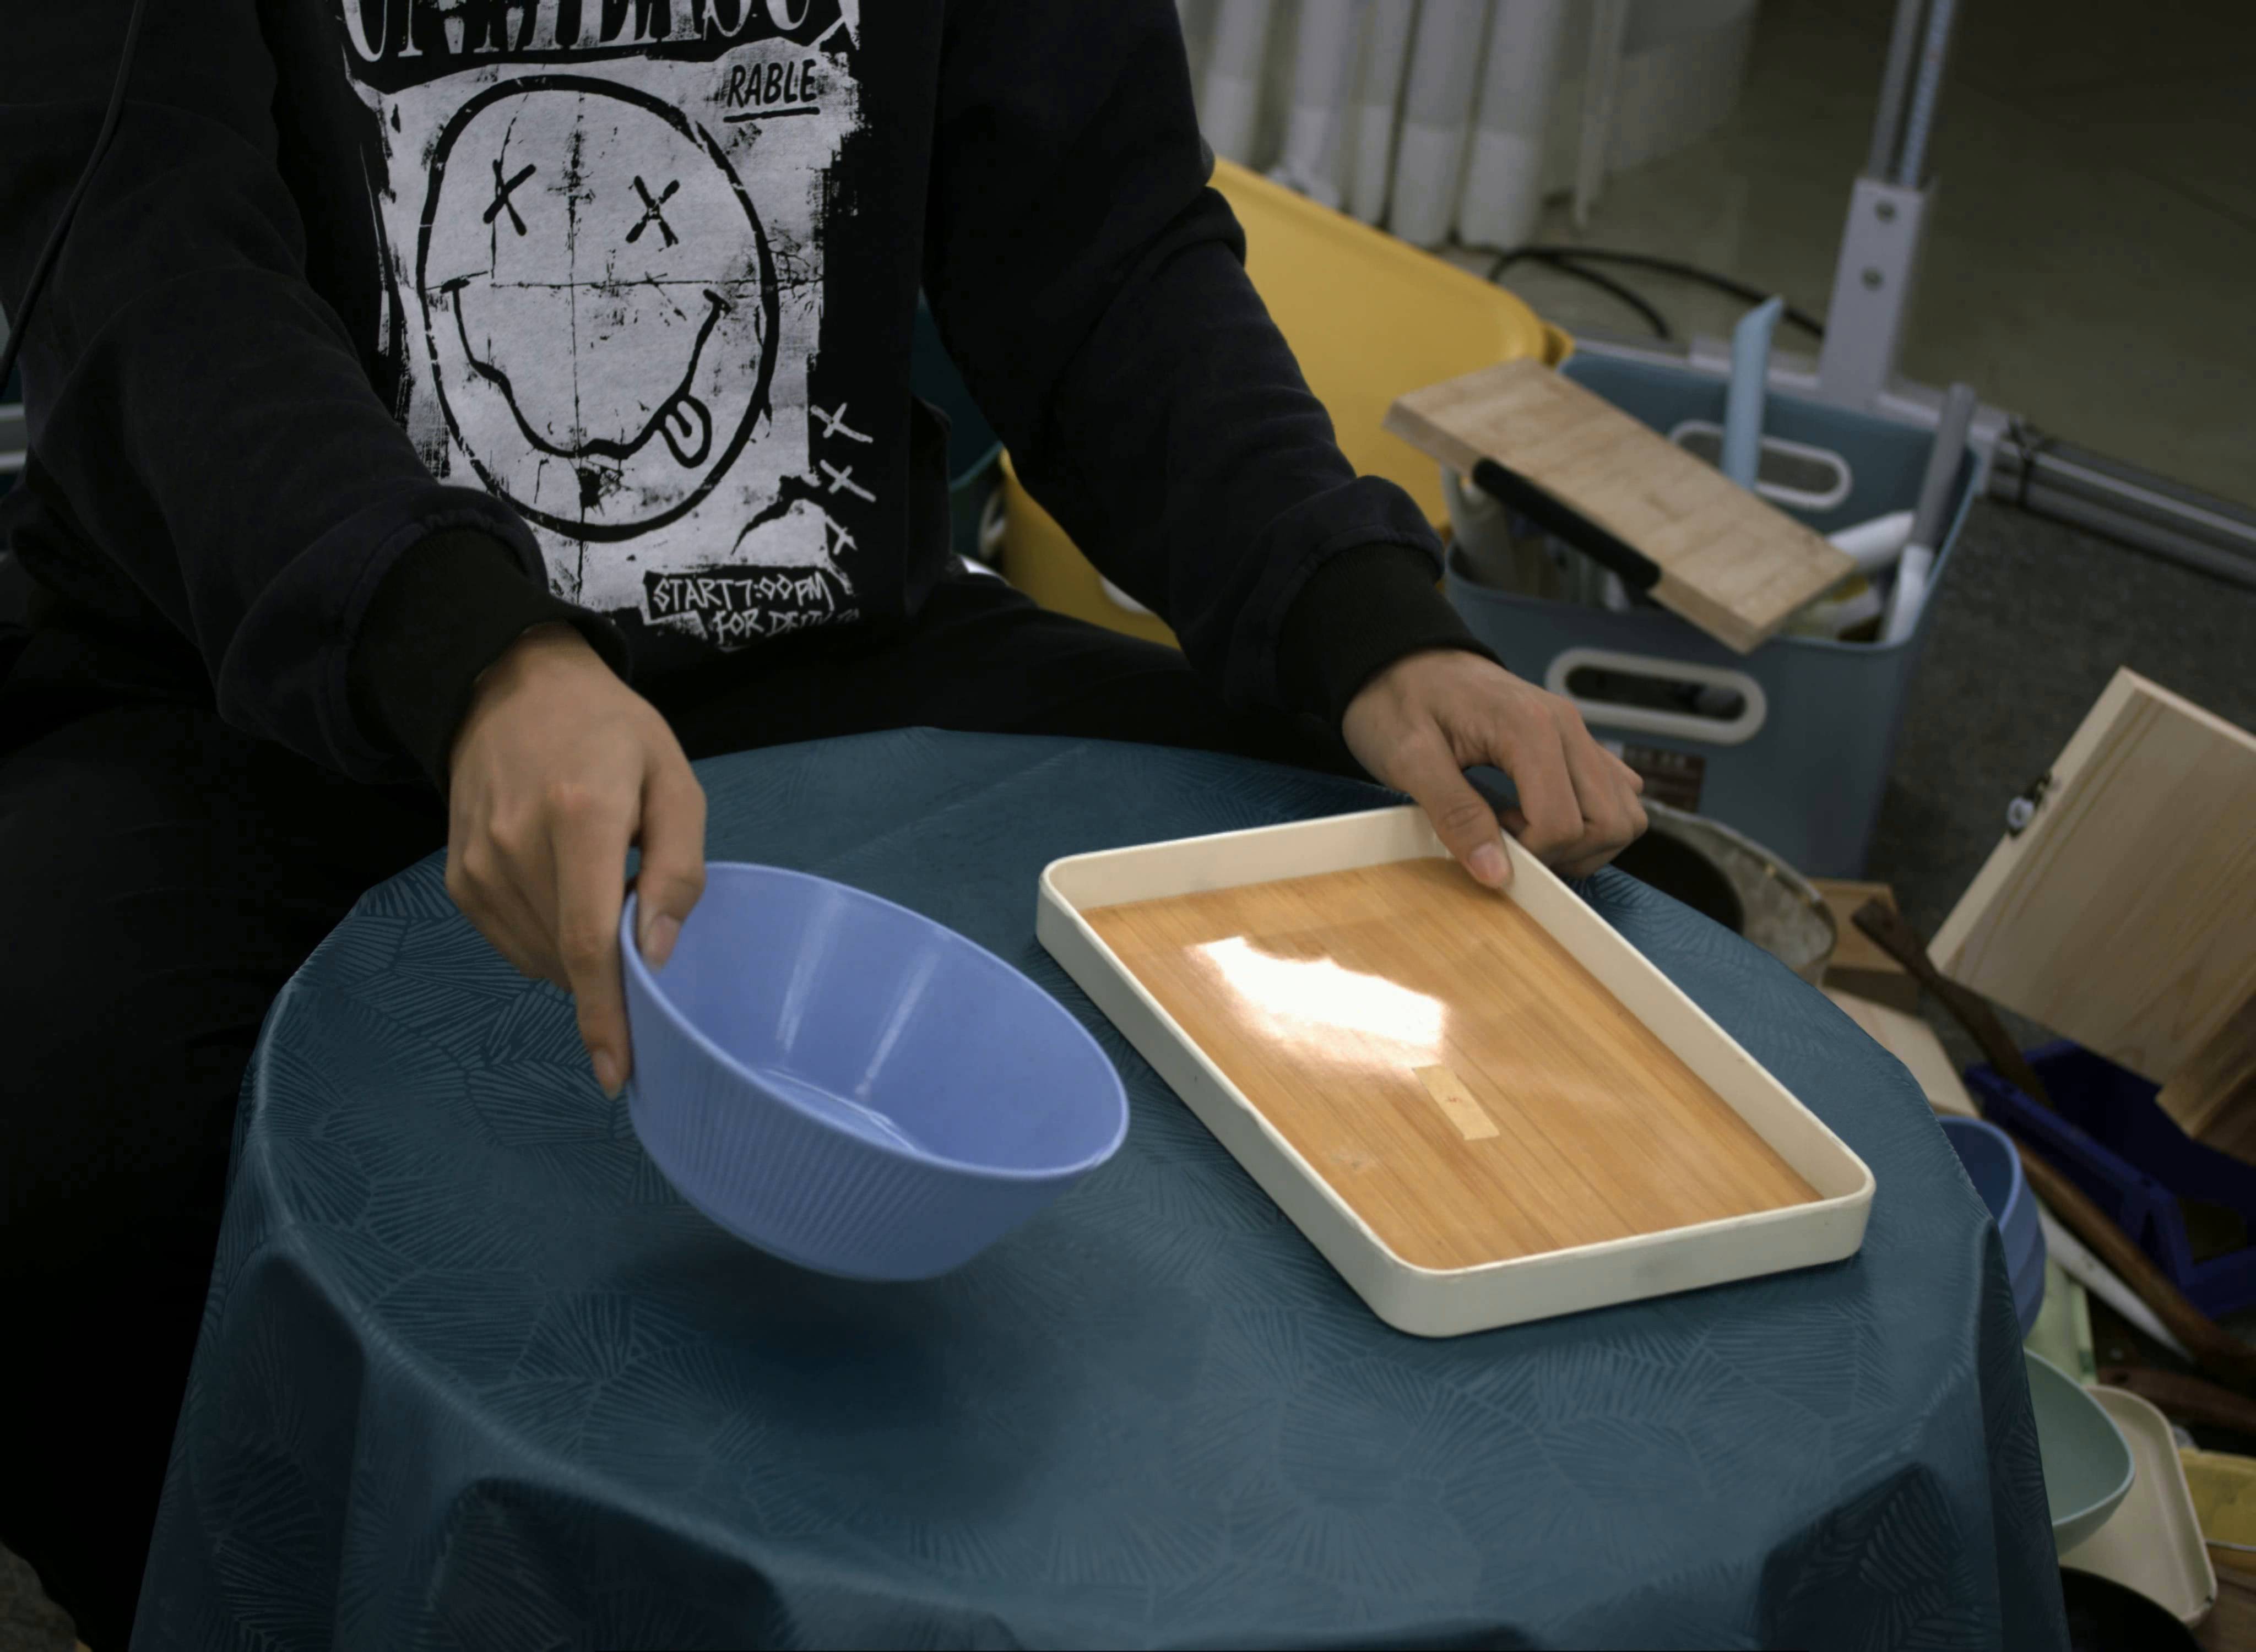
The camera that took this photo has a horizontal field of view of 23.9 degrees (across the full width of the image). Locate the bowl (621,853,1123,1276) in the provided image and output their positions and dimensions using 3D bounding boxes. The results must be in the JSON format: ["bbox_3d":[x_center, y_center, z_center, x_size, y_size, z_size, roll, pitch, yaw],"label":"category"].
[{"bbox_3d":[-0.094,0.084,1.695,0.175,0.070,0.177,24,21,-10],"label":"bowl"}]

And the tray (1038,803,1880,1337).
[{"bbox_3d":[0.111,0.080,1.878,0.190,0.027,0.303,-8,31,-25],"label":"tray"}]
